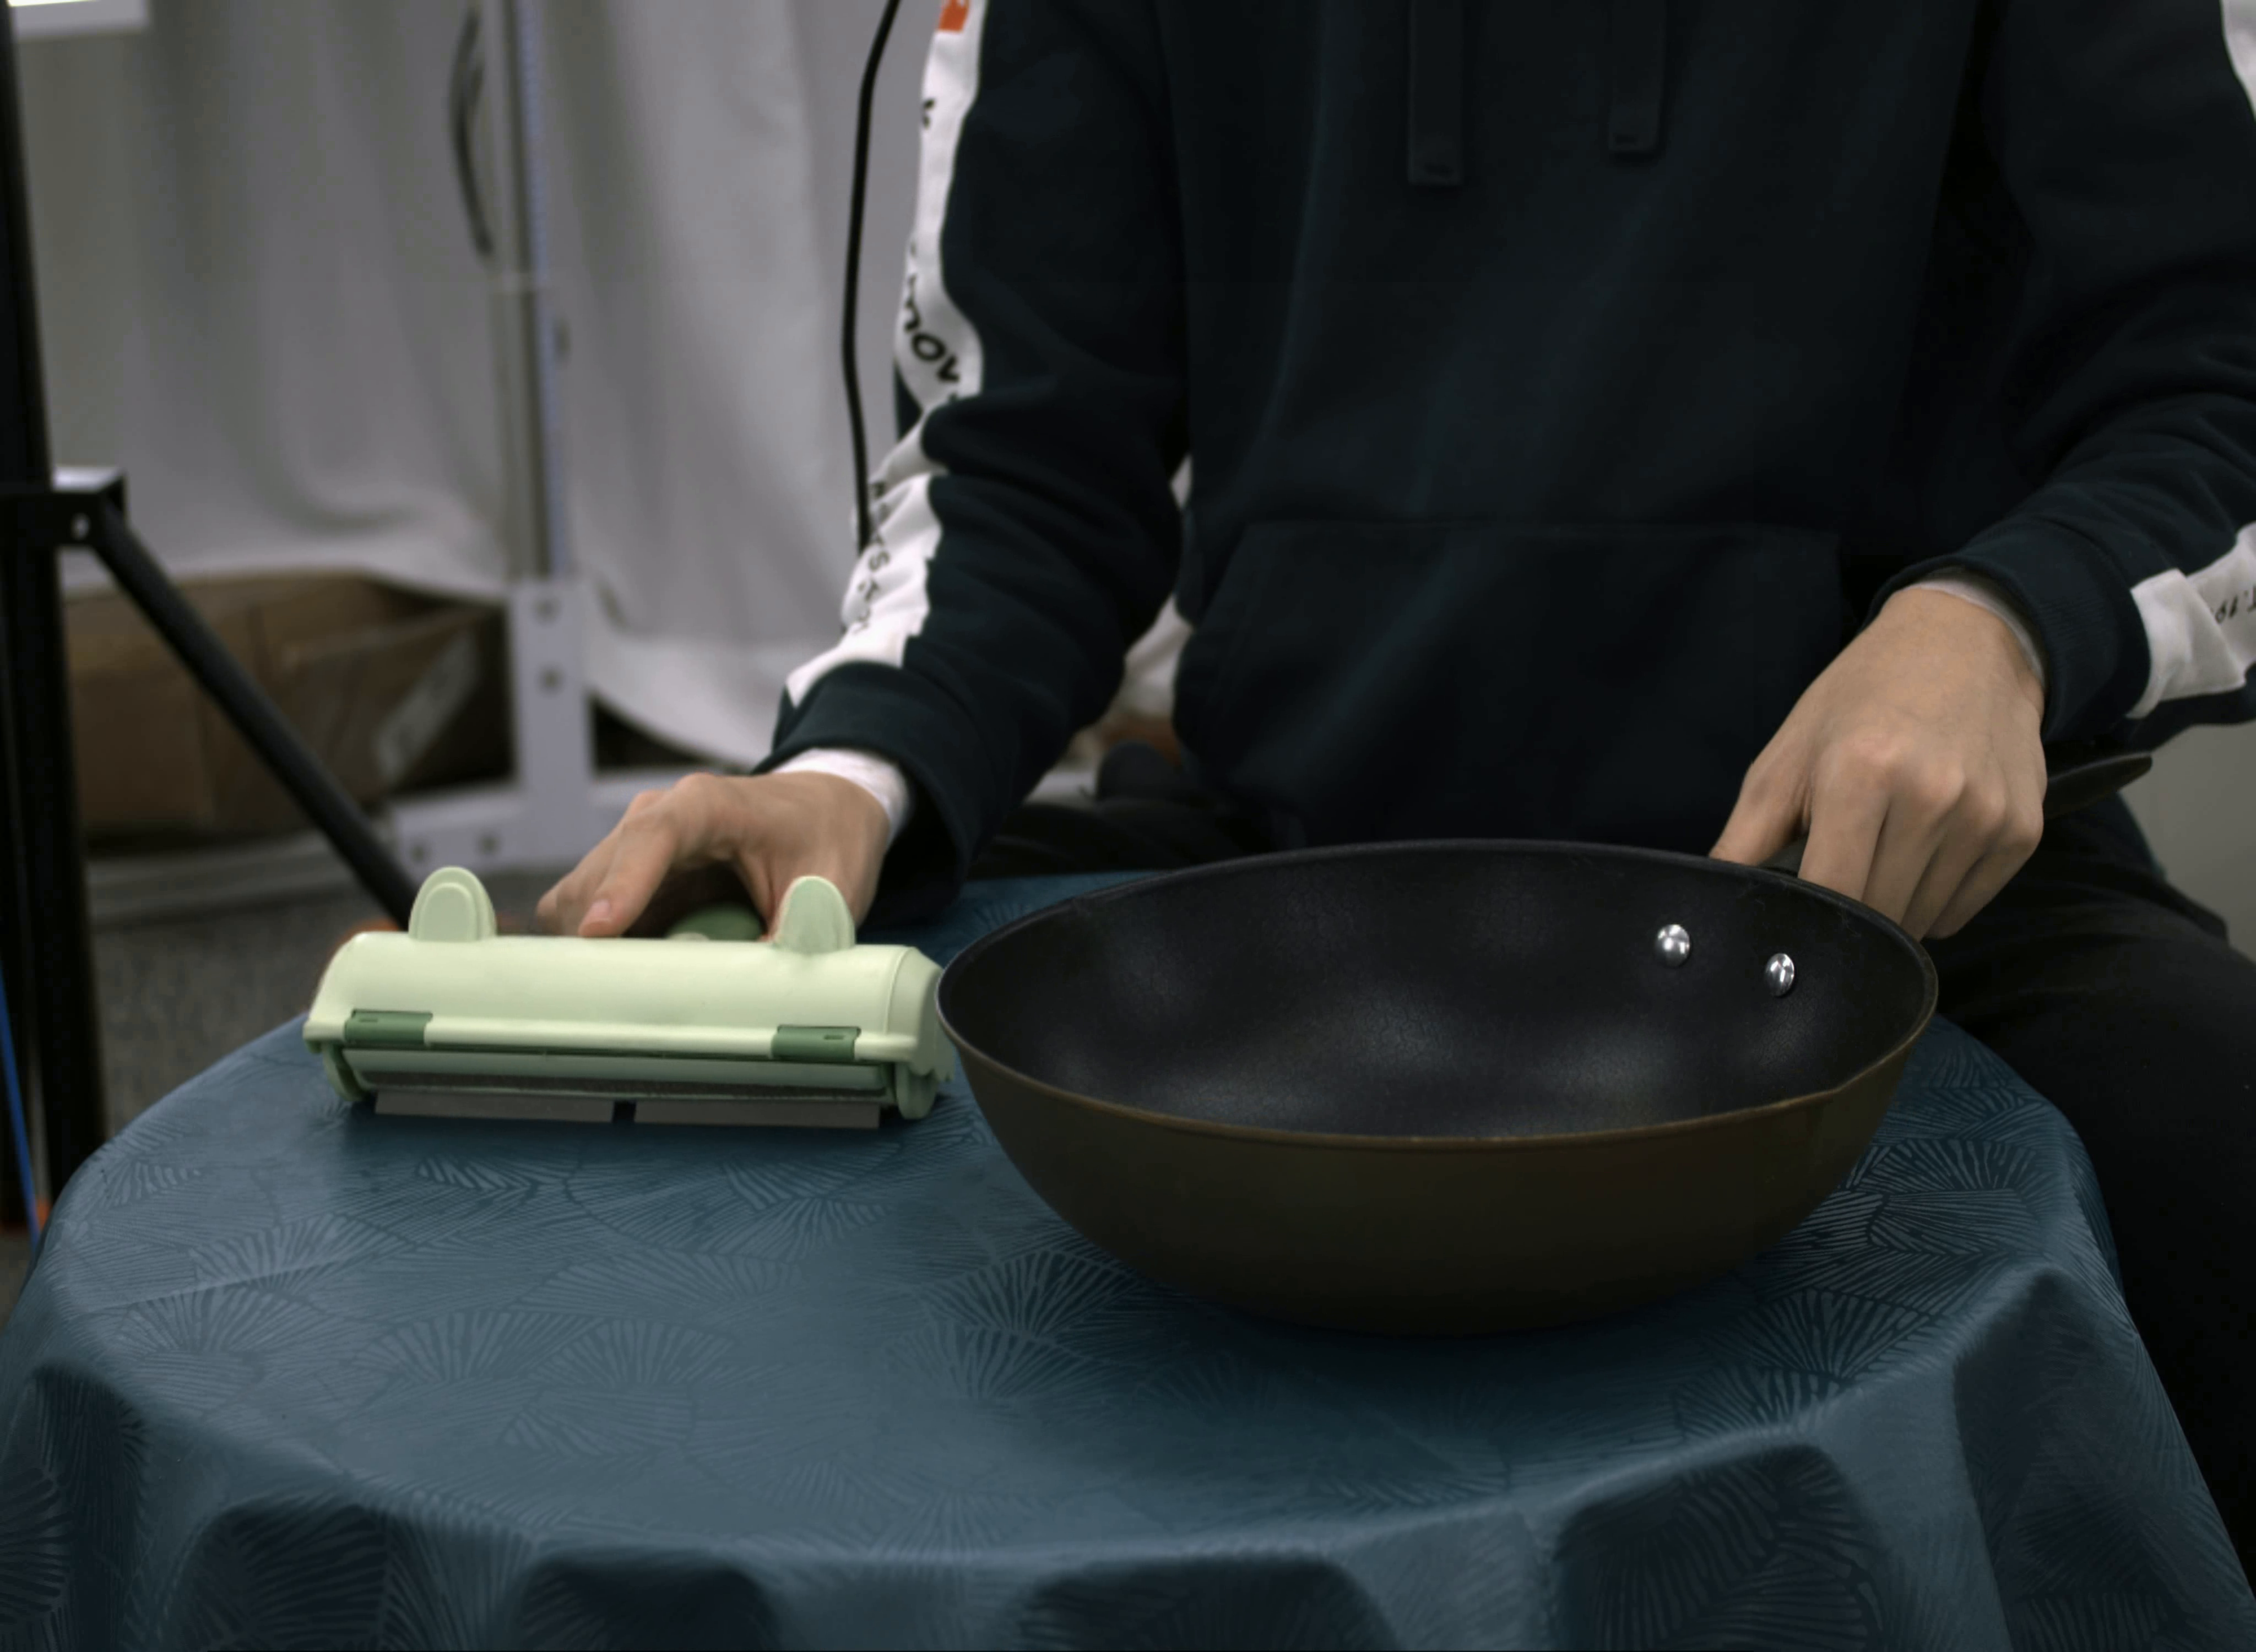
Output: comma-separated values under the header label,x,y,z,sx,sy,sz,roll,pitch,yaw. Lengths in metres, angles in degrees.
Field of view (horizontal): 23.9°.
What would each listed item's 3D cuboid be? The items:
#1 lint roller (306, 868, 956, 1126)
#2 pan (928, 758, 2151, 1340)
label,x,y,z,sx,sy,sz,roll,pitch,yaw
lint roller,-0.142,0.036,1.699,0.200,0.082,0.182,1,22,14
pan,0.149,0.061,1.547,0.452,0.087,0.295,-16,21,-41
